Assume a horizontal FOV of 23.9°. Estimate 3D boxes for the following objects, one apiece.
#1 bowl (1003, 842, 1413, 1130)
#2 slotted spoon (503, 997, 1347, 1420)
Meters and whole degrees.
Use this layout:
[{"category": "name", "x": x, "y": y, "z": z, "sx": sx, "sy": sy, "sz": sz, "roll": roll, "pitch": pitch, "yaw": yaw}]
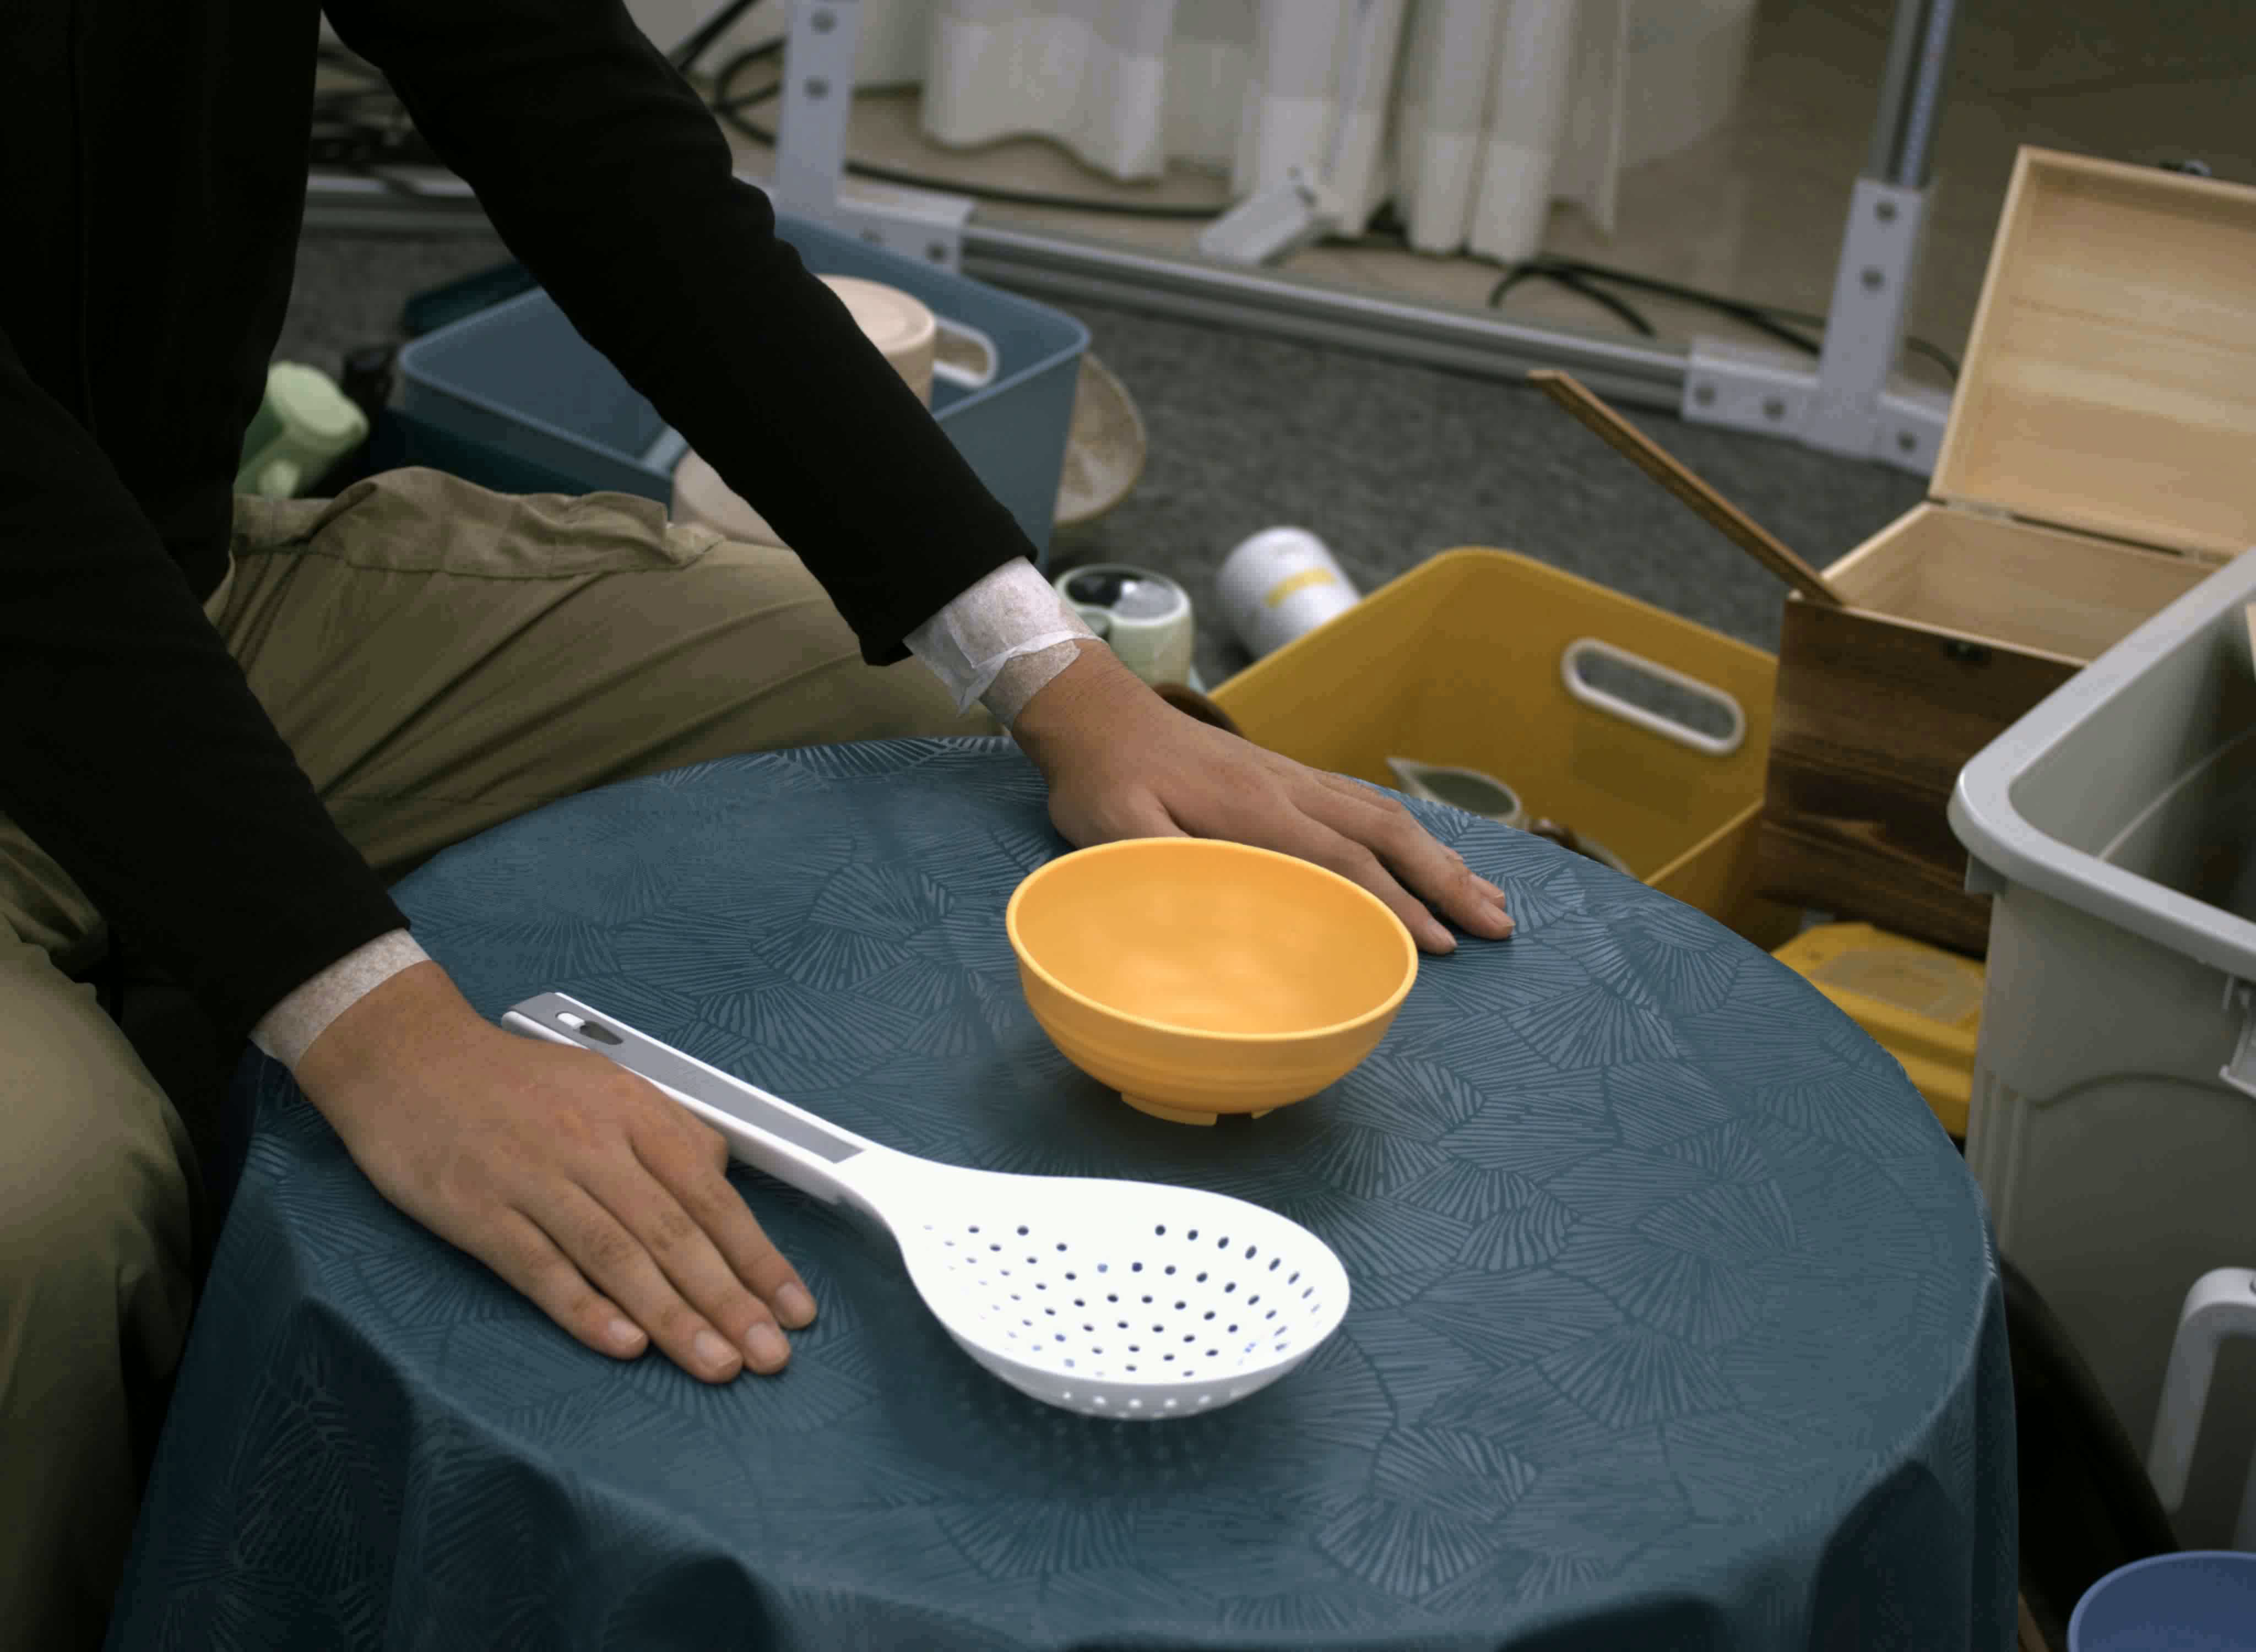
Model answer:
[{"category": "bowl", "x": 0.024, "y": 0.064, "z": 1.862, "sx": 0.145, "sy": 0.060, "sz": 0.146, "roll": 7, "pitch": 26, "yaw": -4}, {"category": "slotted spoon", "x": -0.080, "y": 0.118, "z": 1.744, "sx": 0.352, "sy": 0.045, "sz": 0.135, "roll": 26, "pitch": 32, "yaw": 35}]
